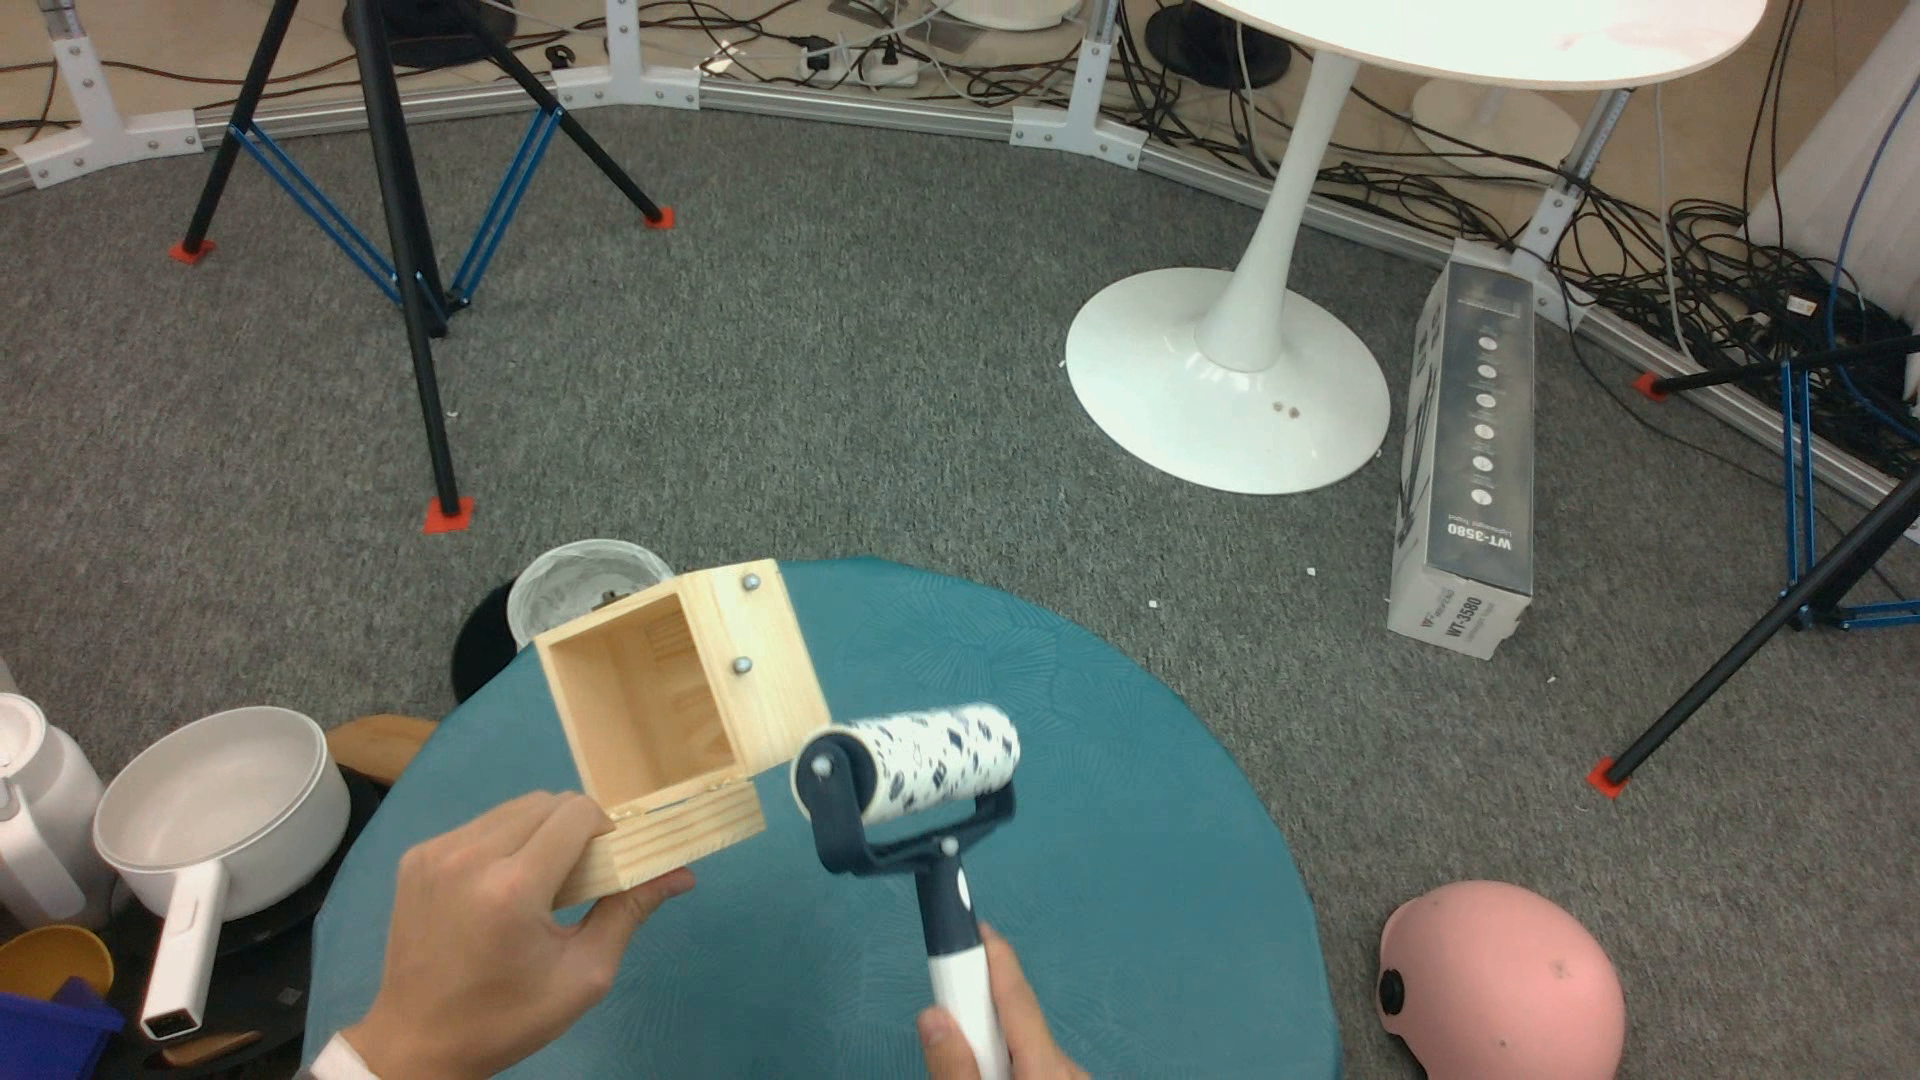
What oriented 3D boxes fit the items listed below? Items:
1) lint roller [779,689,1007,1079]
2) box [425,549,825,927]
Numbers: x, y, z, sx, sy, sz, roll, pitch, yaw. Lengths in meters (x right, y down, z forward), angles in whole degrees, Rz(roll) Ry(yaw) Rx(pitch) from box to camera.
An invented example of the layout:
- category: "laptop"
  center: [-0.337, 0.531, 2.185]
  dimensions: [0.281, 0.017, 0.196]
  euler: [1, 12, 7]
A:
- category: "lint roller"
  center: [-0.002, 0.194, 0.648]
  dimensions: [0.050, 0.176, 0.247]
  euler: [-18, 81, 21]
- category: "box"
  center: [-0.162, 0.084, 0.650]
  dimensions: [0.185, 0.102, 0.134]
  euler: [-12, 81, -63]
